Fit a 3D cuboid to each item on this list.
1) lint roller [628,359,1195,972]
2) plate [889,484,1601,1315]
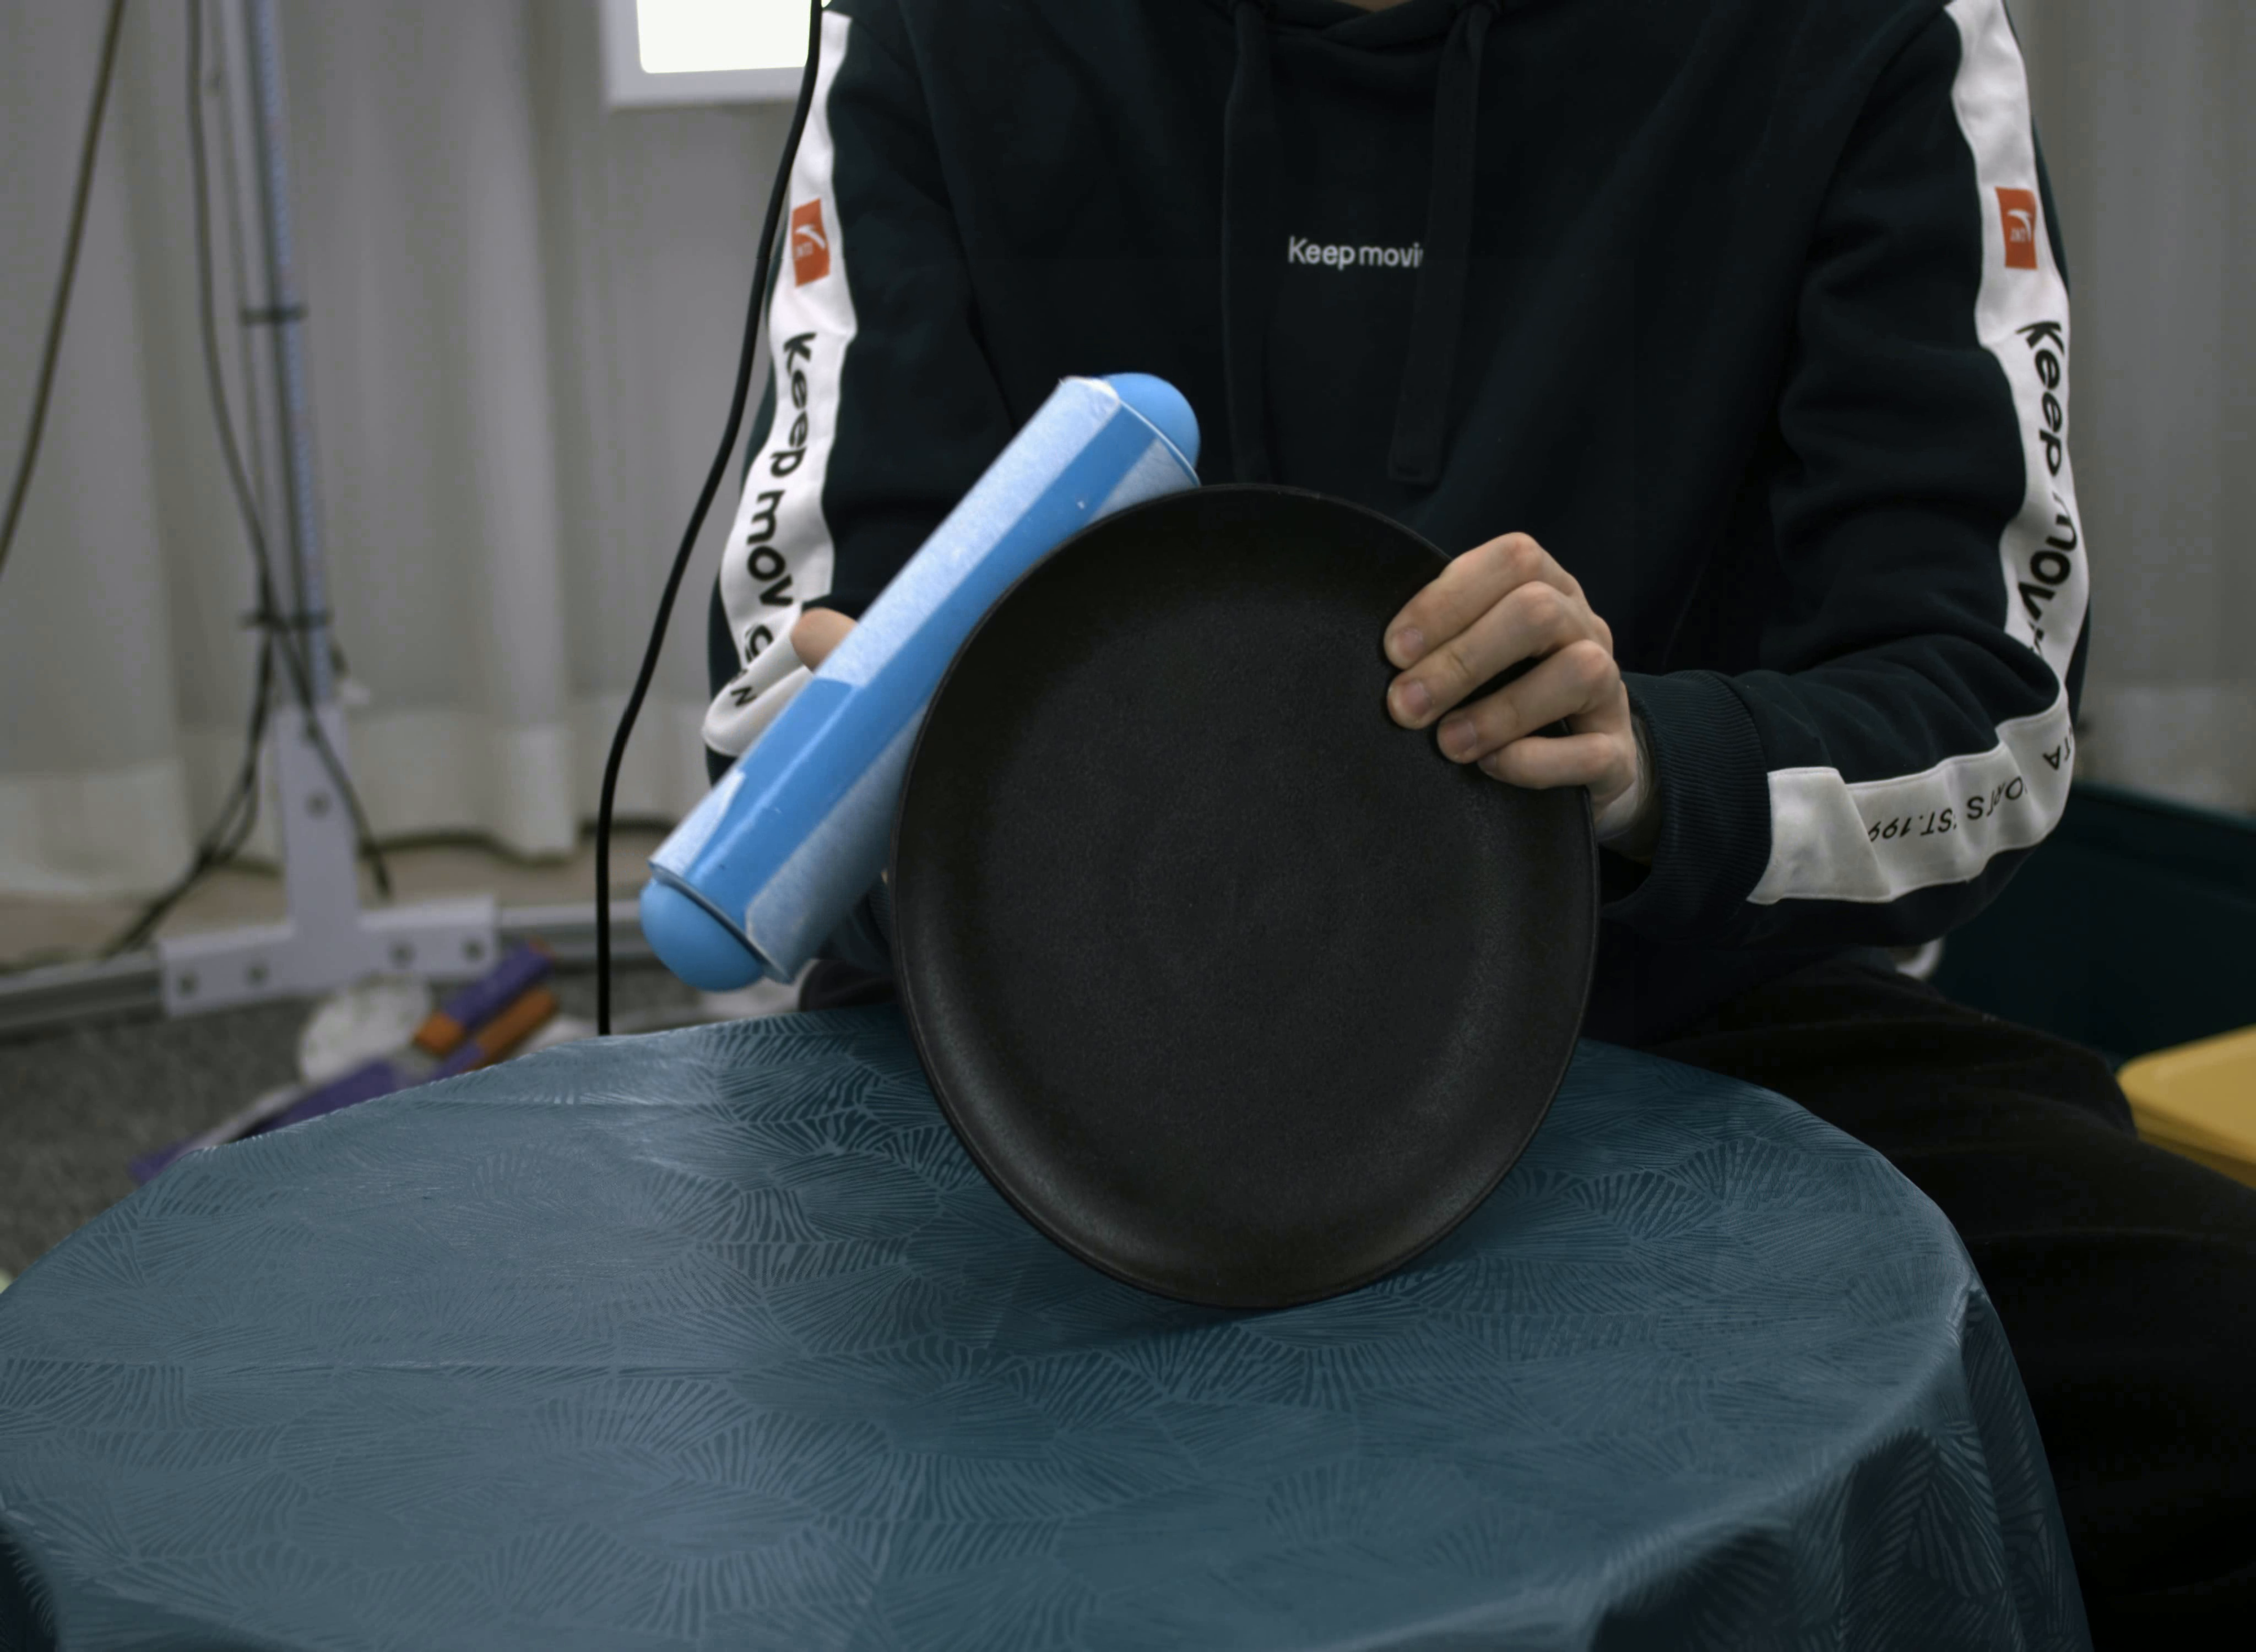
[{"bbox_3d":[-0.057,-0.026,1.651,0.068,0.230,0.178,35,-16,17],"label":"lint roller"},{"bbox_3d":[0.034,0.021,1.611,0.243,0.245,0.023,-11,3,-29],"label":"plate"}]
